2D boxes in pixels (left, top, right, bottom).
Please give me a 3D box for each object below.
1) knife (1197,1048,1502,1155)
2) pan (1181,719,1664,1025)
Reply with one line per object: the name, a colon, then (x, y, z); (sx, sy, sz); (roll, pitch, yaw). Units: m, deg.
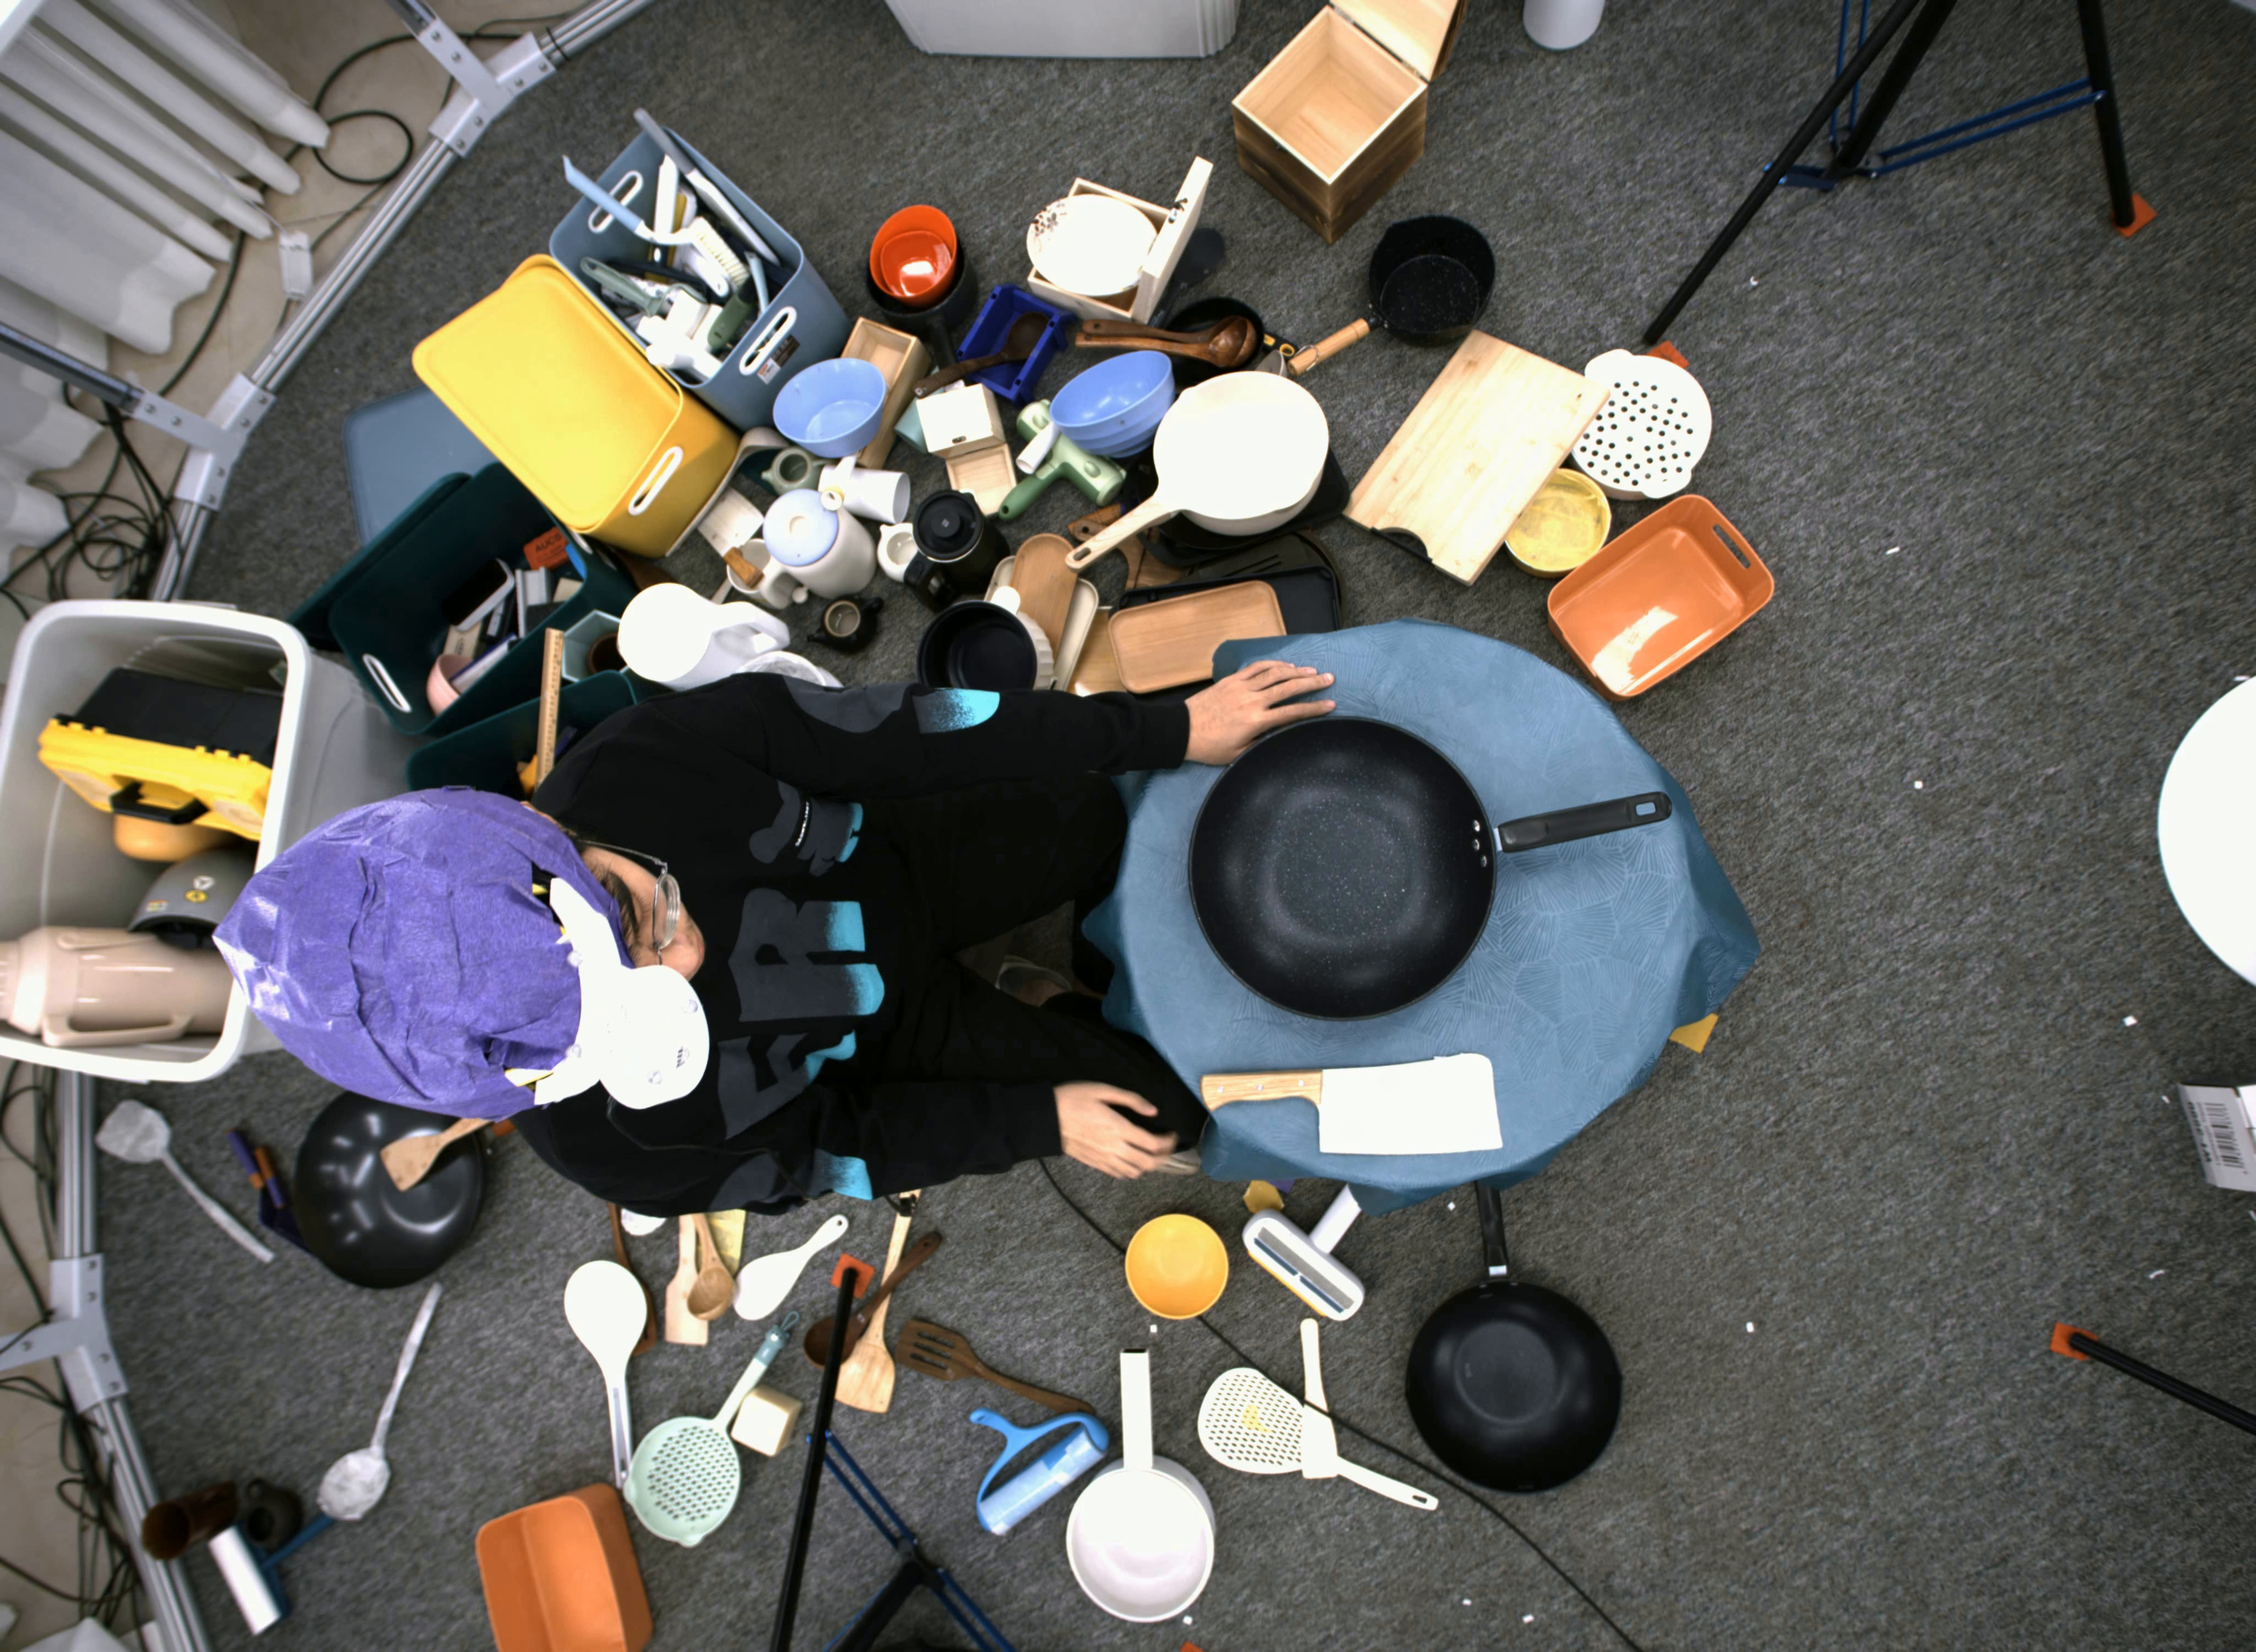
knife: (0.230, 0.285, 1.447); (0.316, 0.022, 0.113); (0, 87, 8)
pan: (0.292, 0.030, 1.404); (0.479, 0.111, 0.309); (-11, 86, 10)
